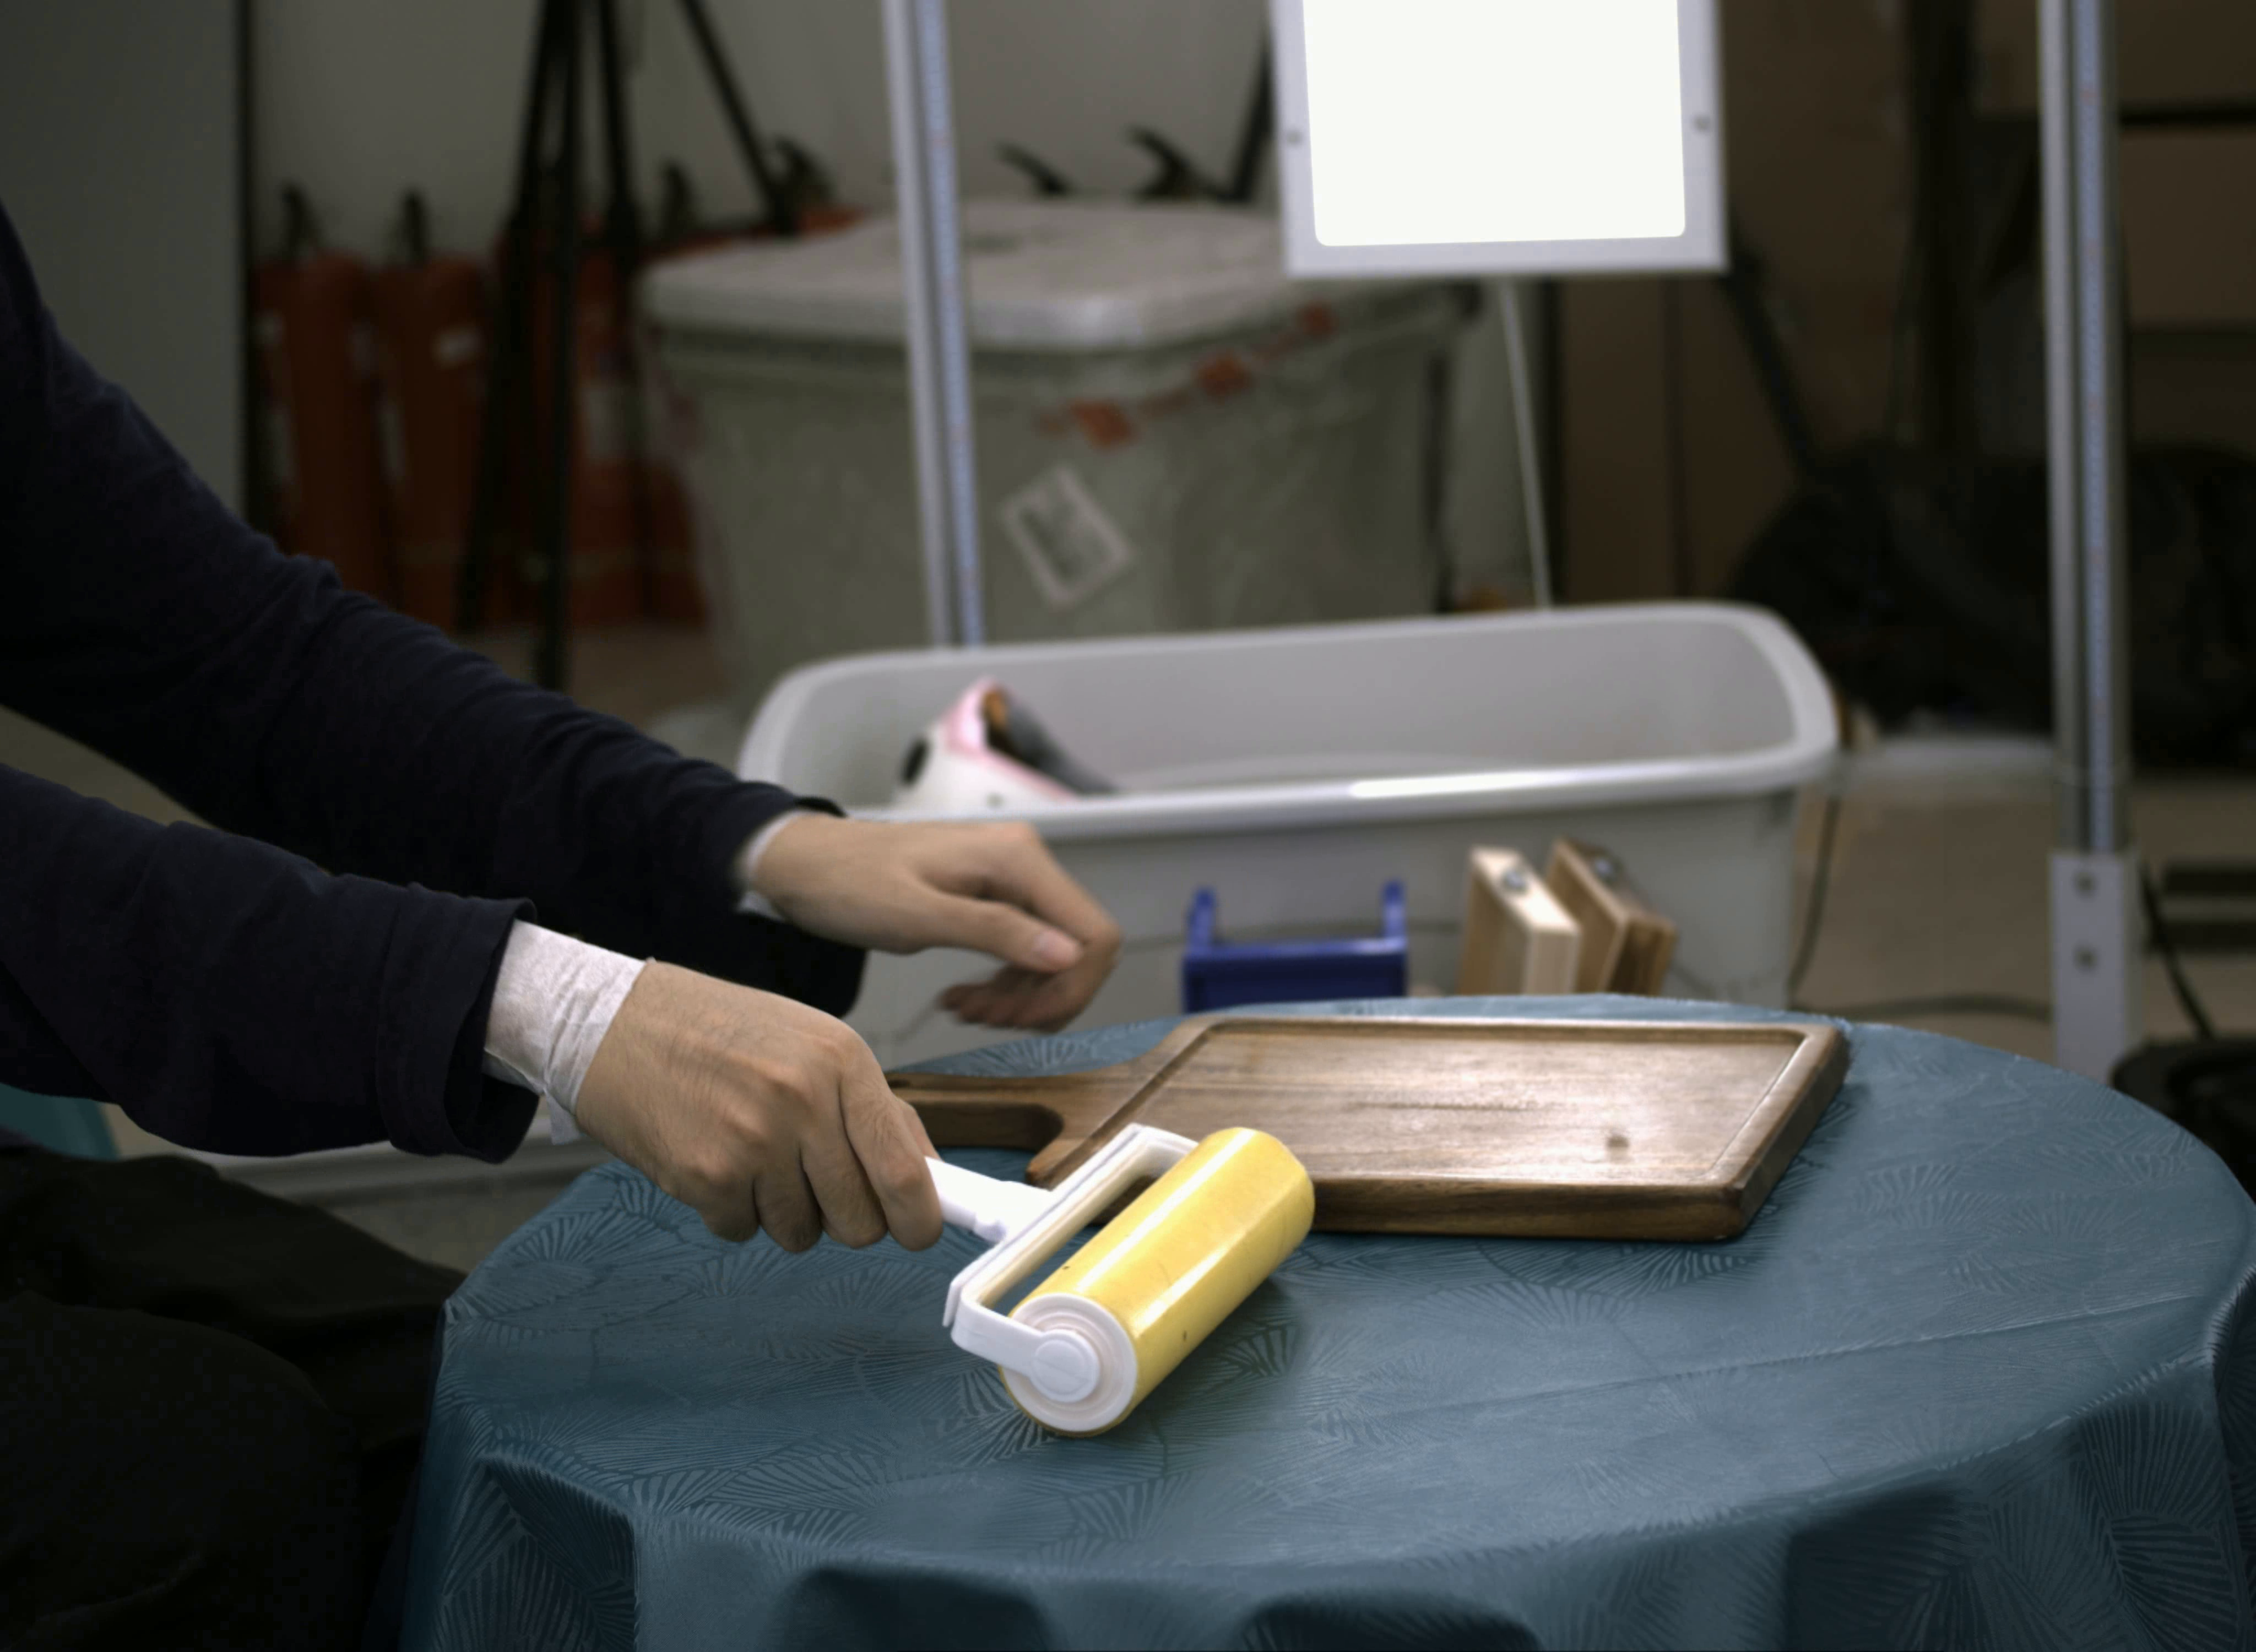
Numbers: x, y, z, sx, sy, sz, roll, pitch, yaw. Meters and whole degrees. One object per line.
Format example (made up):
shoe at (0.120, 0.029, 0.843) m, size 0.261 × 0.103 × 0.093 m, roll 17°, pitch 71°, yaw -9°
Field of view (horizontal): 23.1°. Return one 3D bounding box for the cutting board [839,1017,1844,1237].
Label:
cutting board at (0.065, 0.102, 1.934) m, size 0.357 × 0.023 × 0.197 m, roll 0°, pitch 14°, yaw 20°

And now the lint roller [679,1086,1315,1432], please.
lint roller at (-0.051, 0.112, 1.742) m, size 0.193 × 0.052 × 0.171 m, roll 26°, pitch 22°, yaw 13°
